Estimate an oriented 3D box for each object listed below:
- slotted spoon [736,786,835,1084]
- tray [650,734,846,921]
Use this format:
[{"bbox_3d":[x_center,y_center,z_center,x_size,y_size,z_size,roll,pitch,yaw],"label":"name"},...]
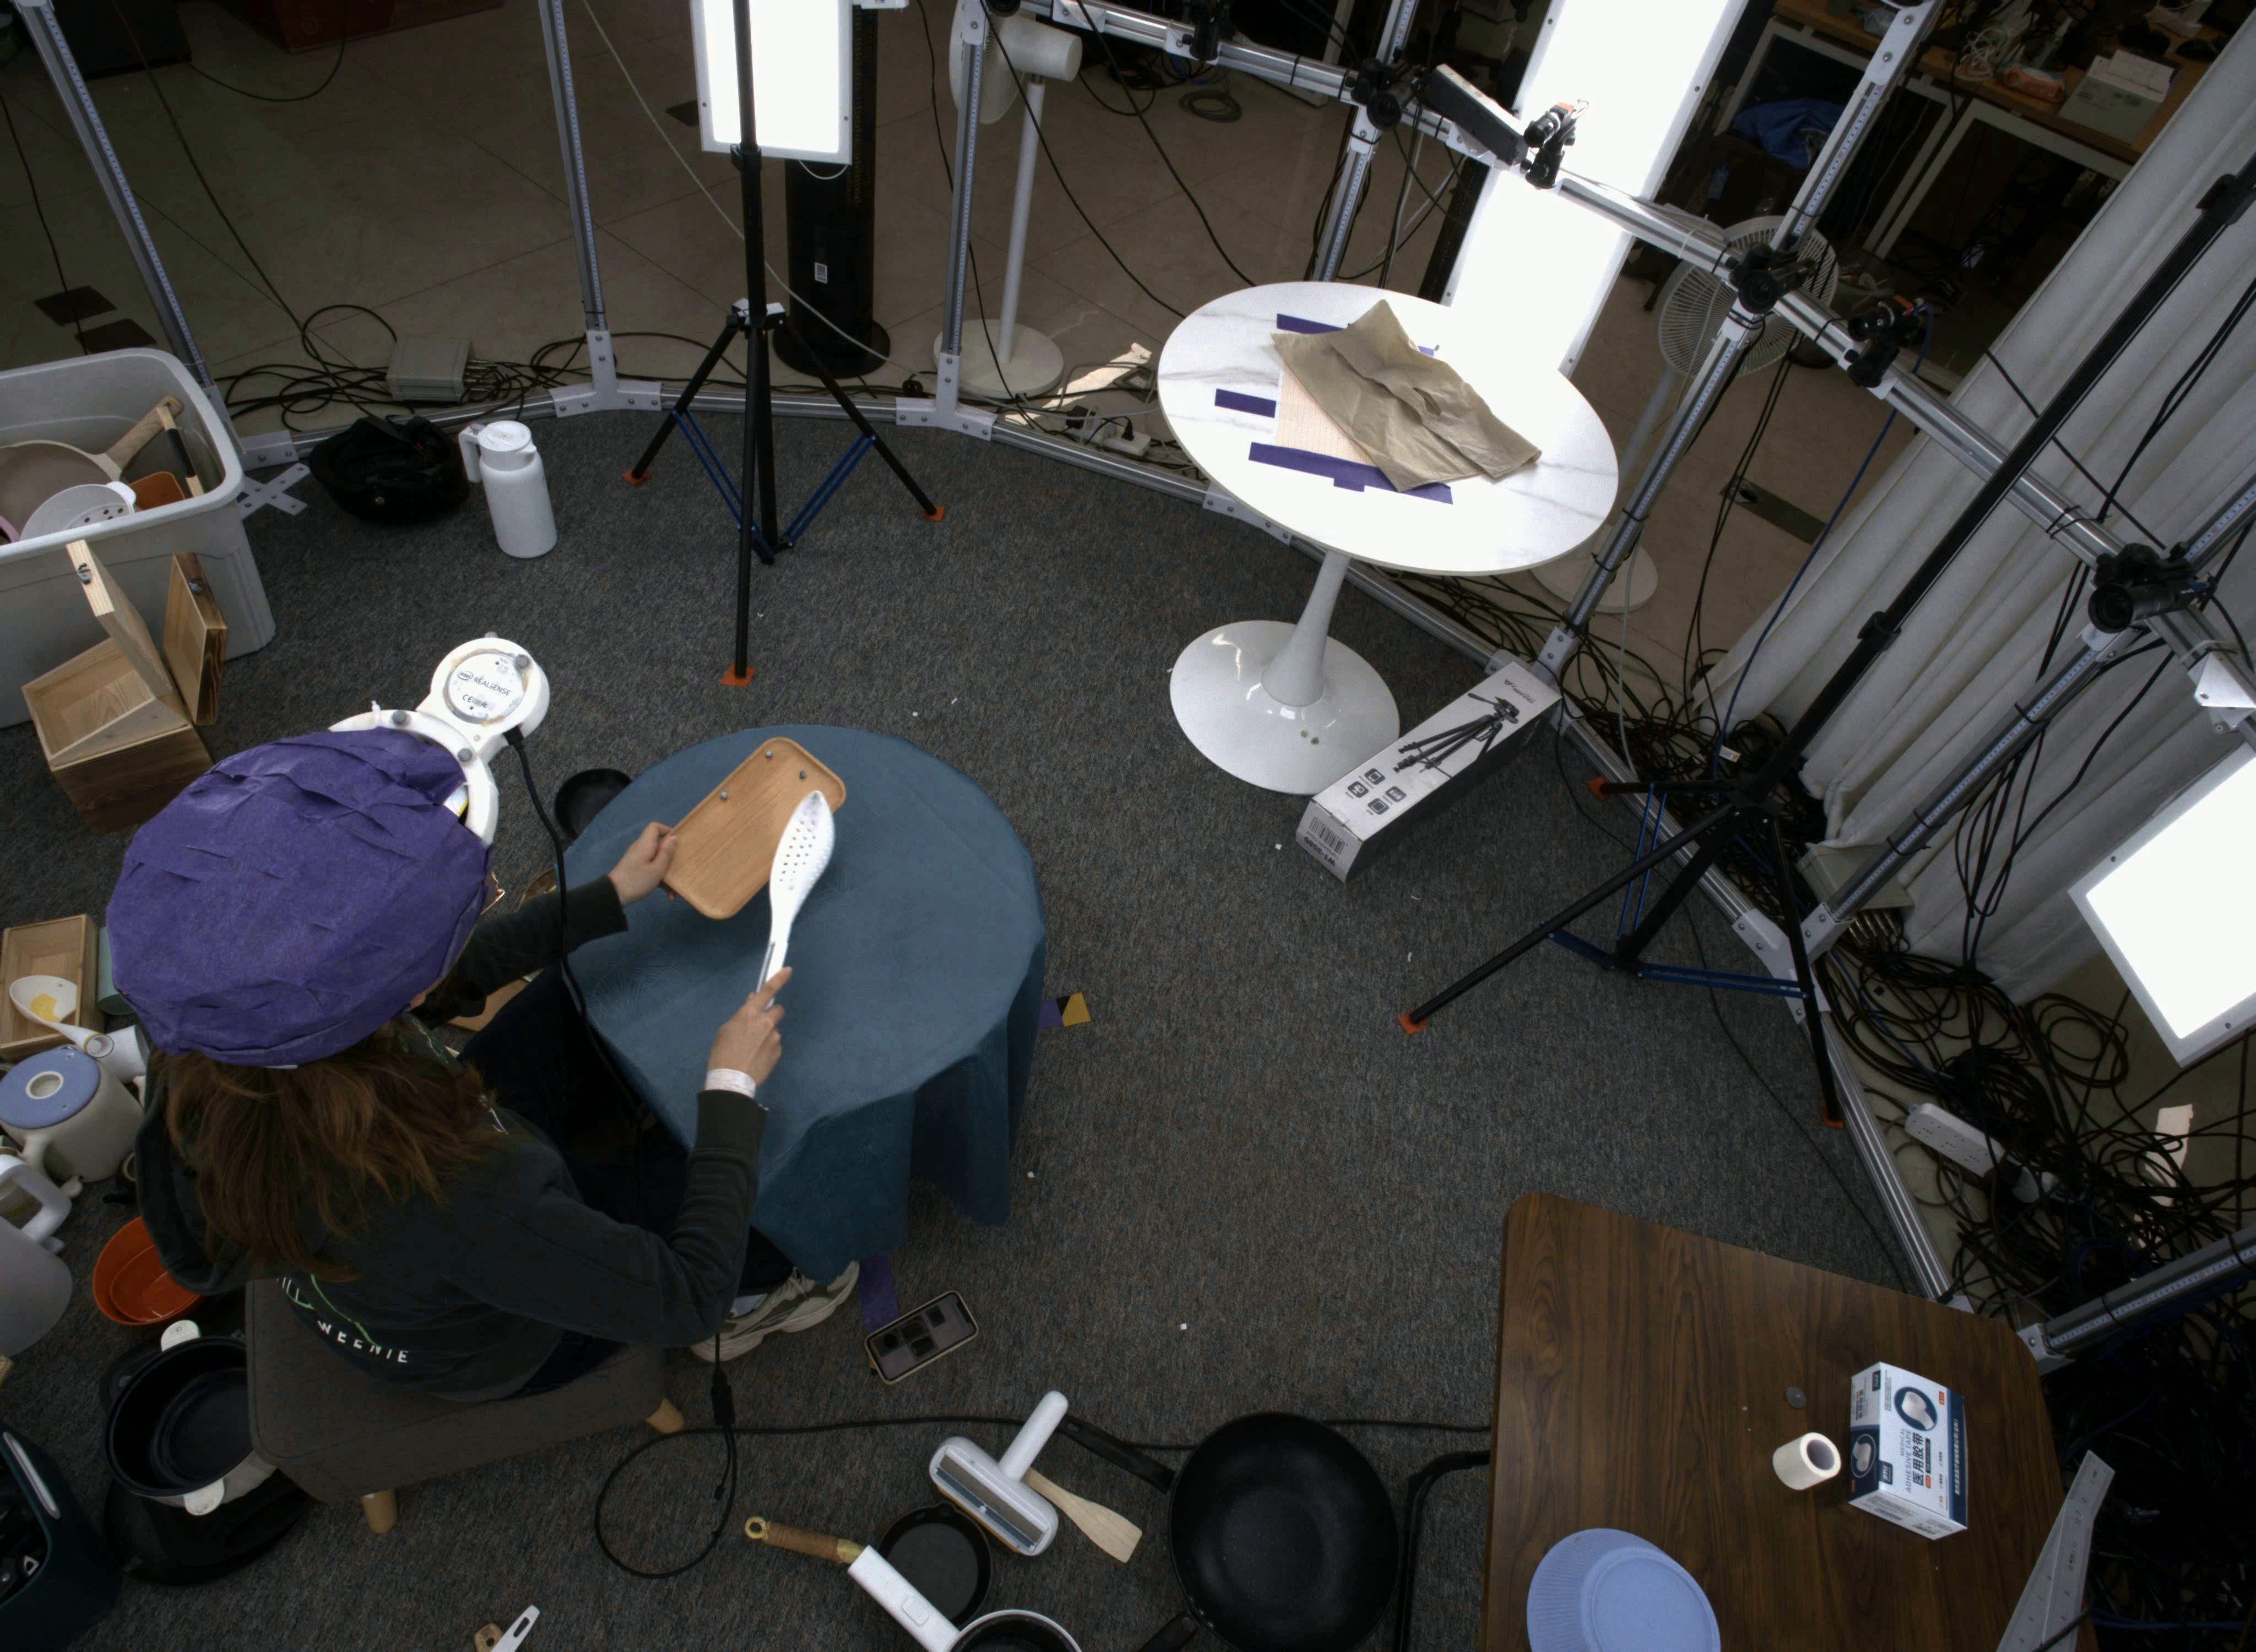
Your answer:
[{"bbox_3d":[-0.389,0.116,1.456,0.047,0.134,0.346,26,59,-25],"label":"slotted spoon"},{"bbox_3d":[-0.466,-0.002,1.593,0.130,0.023,0.250,40,59,-1],"label":"tray"}]
